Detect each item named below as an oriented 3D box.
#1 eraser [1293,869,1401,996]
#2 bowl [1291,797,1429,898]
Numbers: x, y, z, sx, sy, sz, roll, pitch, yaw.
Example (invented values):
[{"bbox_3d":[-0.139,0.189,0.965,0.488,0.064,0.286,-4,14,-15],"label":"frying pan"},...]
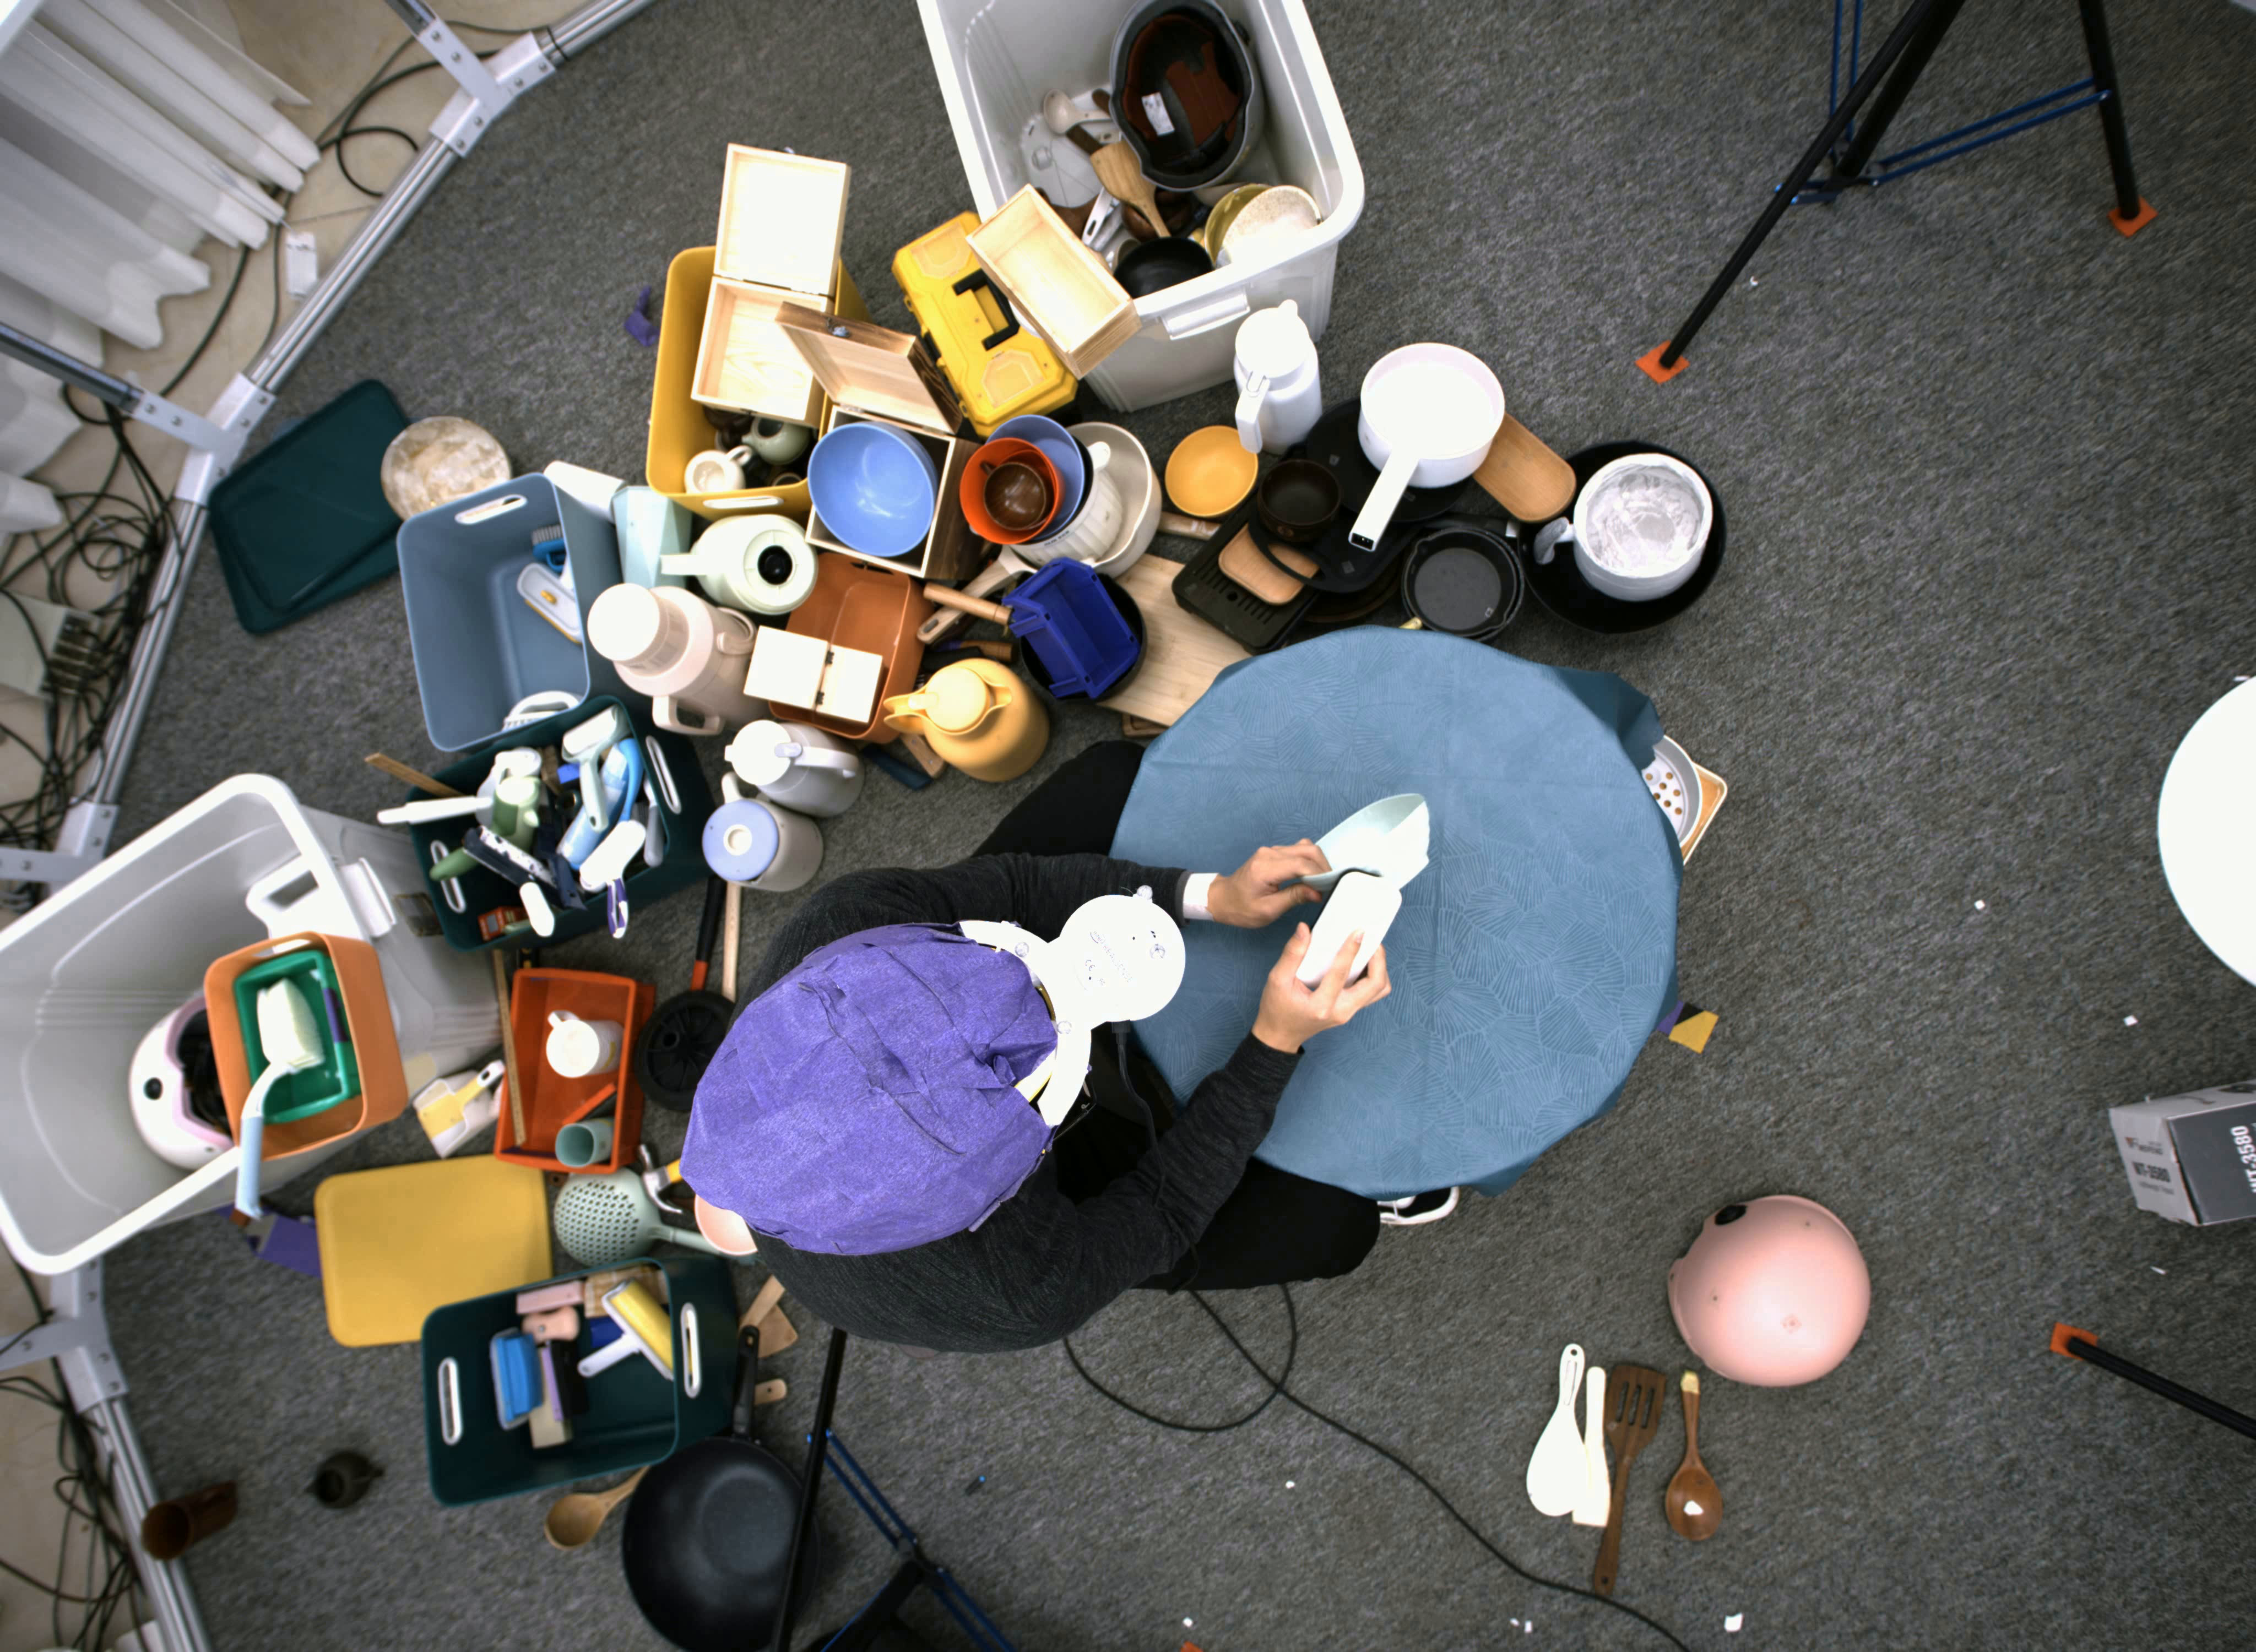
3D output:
[{"bbox_3d":[0.206,0.102,1.315,0.063,0.034,0.134,16,119,-17],"label":"eraser"},{"bbox_3d":[0.239,0.031,1.359,0.152,0.150,0.059,-33,100,6],"label":"bowl"}]
